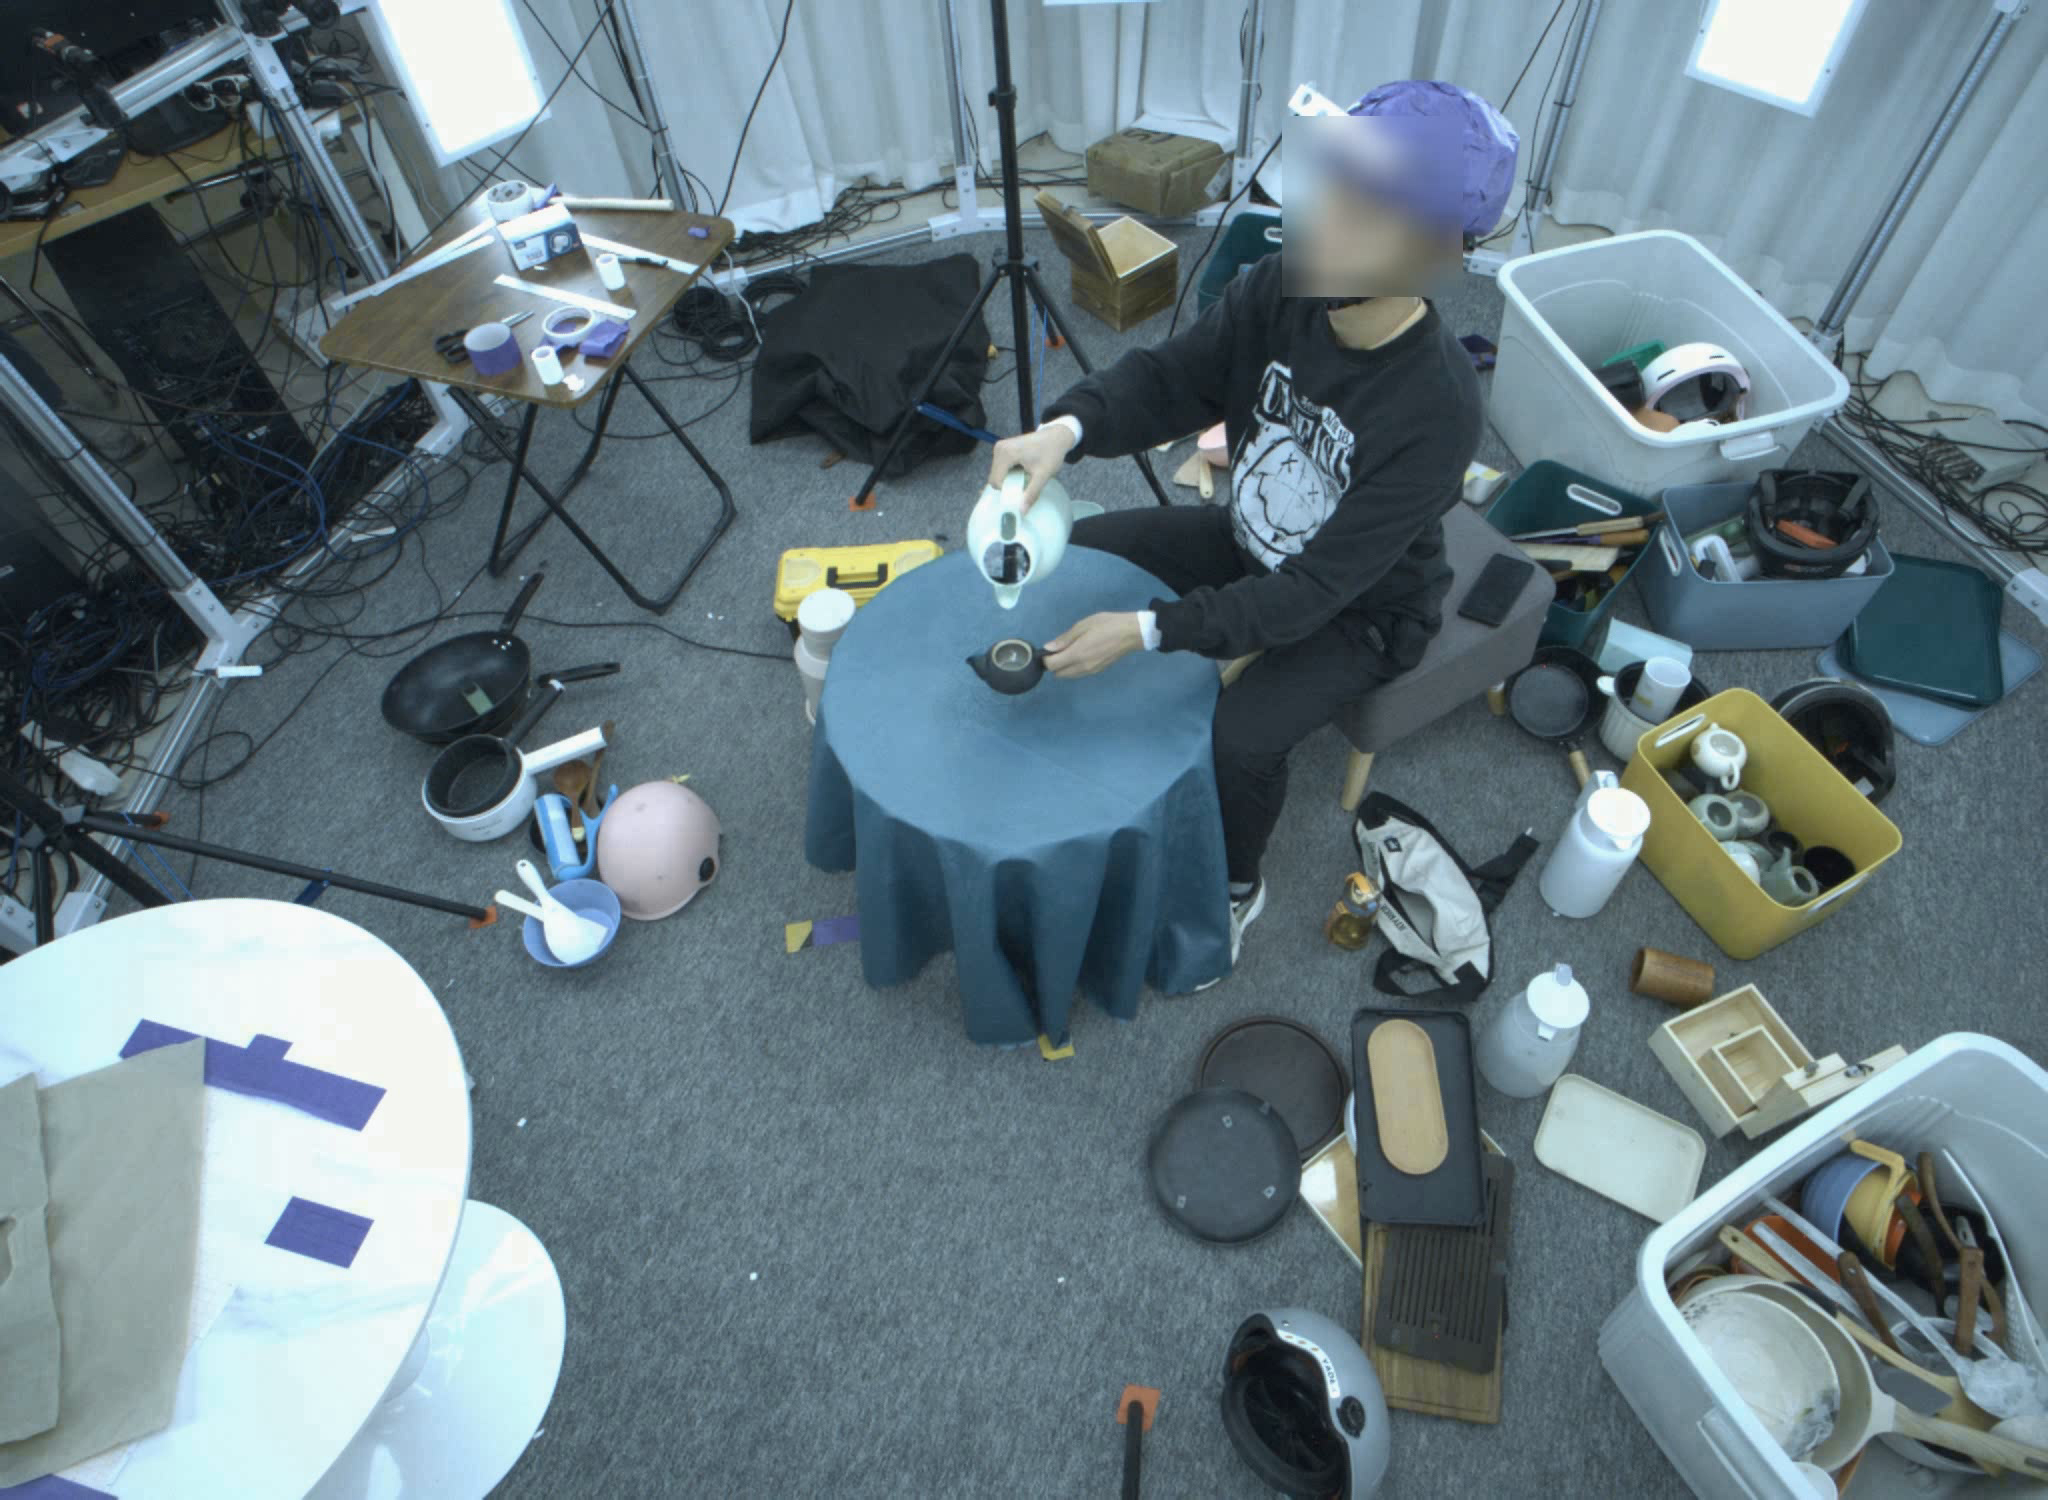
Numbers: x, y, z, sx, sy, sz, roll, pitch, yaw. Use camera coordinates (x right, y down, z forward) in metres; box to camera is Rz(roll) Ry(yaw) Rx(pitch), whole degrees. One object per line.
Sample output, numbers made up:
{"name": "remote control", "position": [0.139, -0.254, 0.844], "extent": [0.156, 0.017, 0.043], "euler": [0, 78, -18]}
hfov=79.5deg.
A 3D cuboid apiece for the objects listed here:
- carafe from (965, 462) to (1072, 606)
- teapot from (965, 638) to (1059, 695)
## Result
{"name": "carafe", "position": [-0.012, -0.315, 1.715], "extent": [0.144, 0.188, 0.255], "euler": [5, 22, 4]}
{"name": "teapot", "position": [-0.017, -0.120, 1.751], "extent": [0.133, 0.053, 0.090], "euler": [-7, 59, -4]}
